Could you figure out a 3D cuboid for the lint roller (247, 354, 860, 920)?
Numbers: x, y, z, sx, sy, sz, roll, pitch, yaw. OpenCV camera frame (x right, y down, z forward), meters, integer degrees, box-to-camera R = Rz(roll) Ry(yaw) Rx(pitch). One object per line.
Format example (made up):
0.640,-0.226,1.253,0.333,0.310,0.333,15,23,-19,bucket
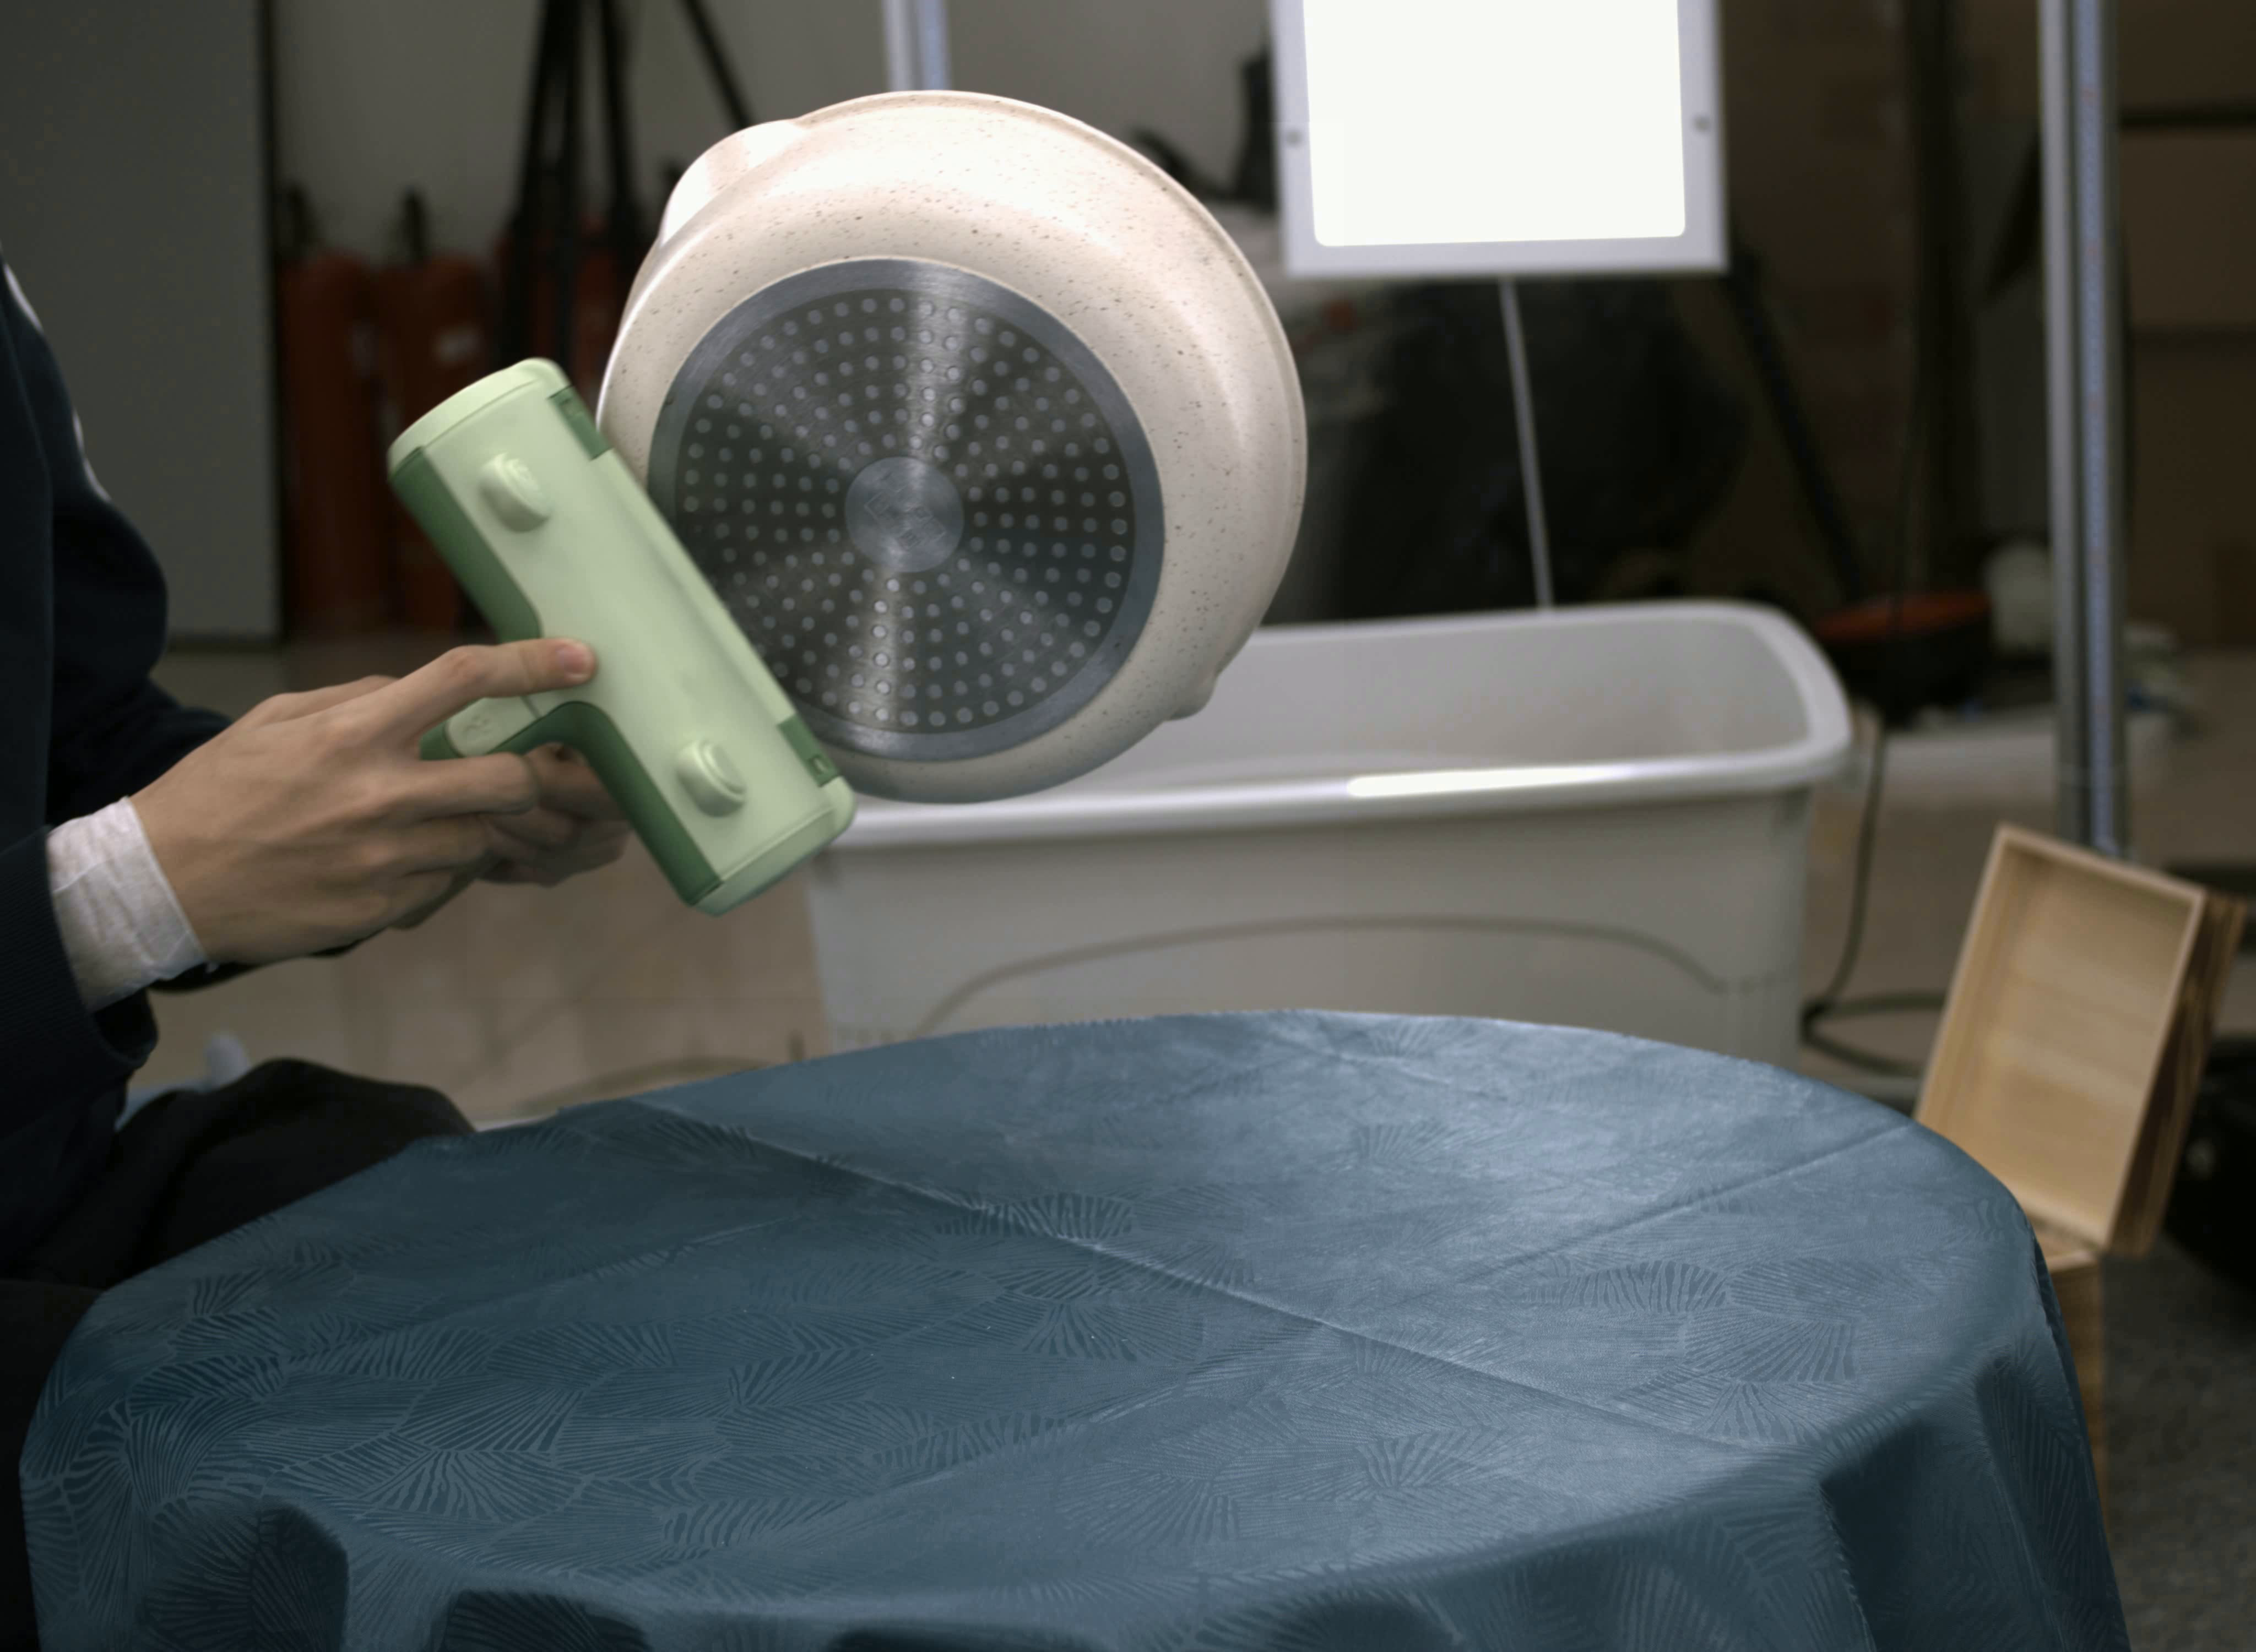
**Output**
-0.213,-0.033,1.840,0.181,0.199,0.083,-35,1,-17,lint roller

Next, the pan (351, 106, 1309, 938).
-0.132,-0.067,1.943,0.442,0.262,0.101,-38,12,26,pan
